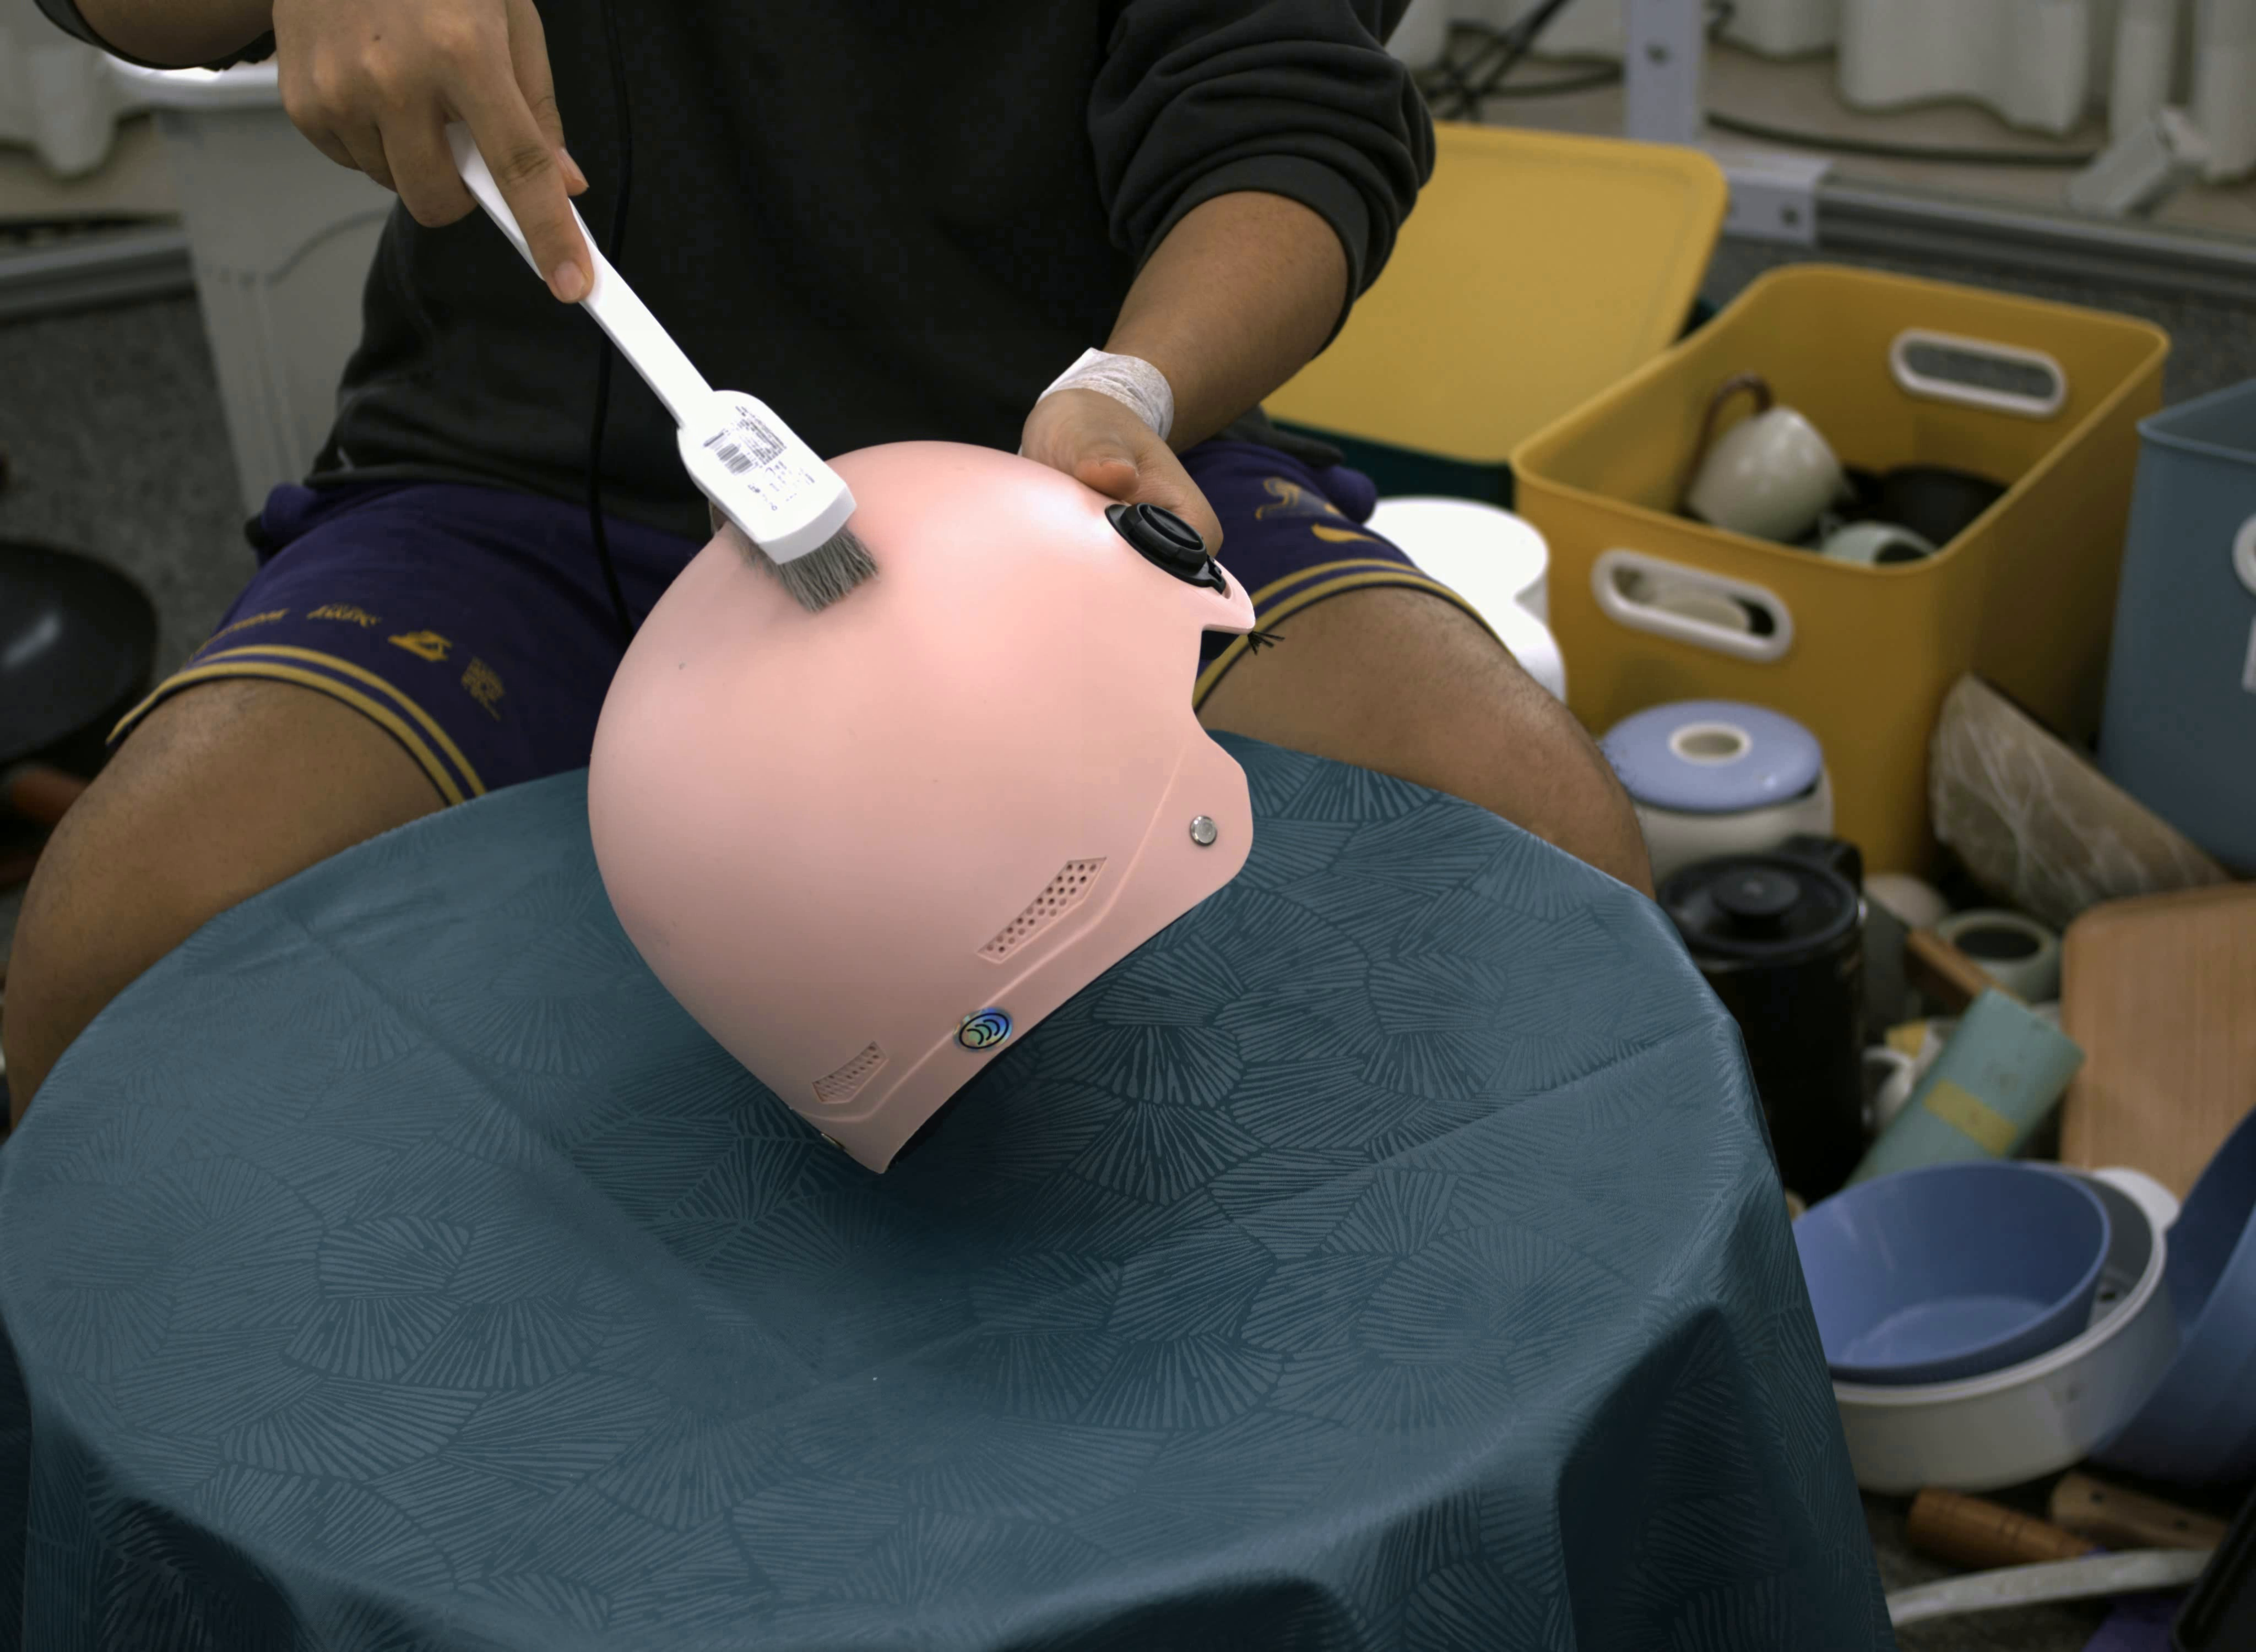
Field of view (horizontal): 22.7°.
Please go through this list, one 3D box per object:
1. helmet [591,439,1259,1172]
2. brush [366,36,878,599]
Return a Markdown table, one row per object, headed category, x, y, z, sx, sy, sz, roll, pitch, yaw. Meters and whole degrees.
| category | x | y | z | sx | sy | sz | roll | pitch | yaw |
| --- | --- | --- | --- | --- | --- | --- | --- | --- | --- |
| helmet | -0.085 | -0.033 | 1.857 | 0.231 | 0.158 | 0.270 | -42 | 28 | 22 |
| brush | -0.164 | -0.163 | 1.810 | 0.034 | 0.049 | 0.245 | -38 | 66 | -12 |
